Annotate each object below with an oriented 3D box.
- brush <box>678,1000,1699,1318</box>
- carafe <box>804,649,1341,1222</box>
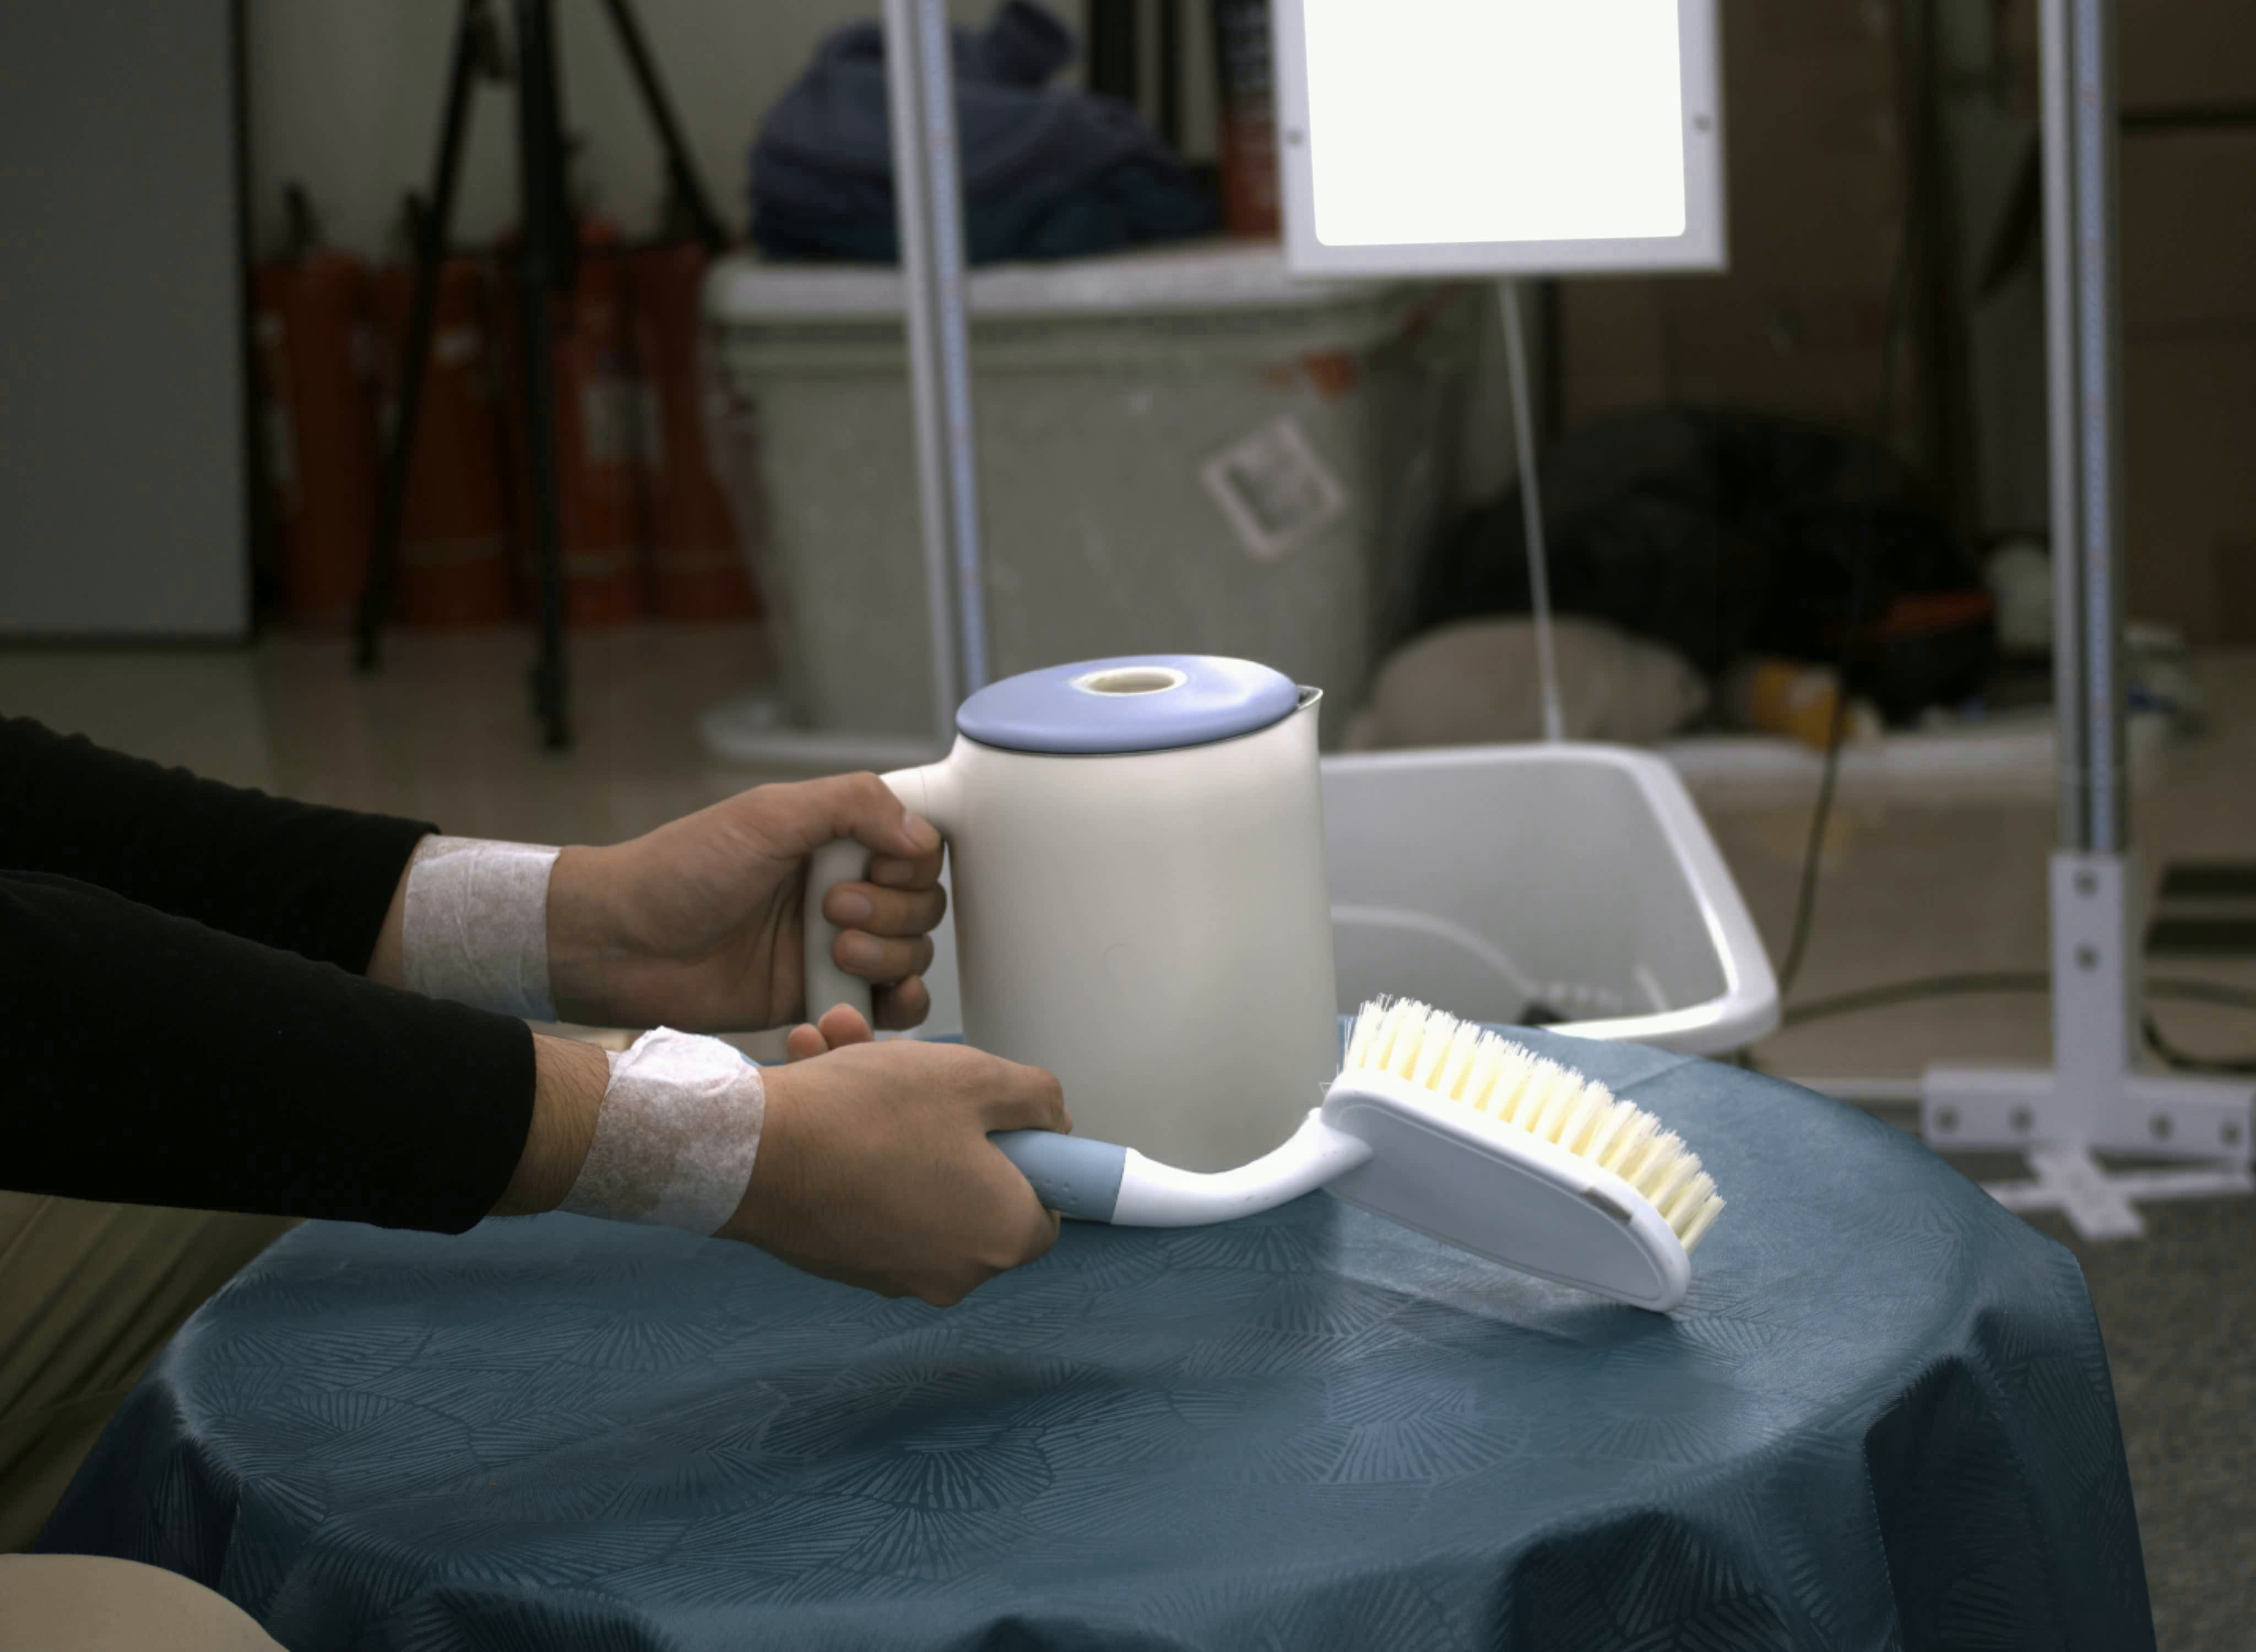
[{"bbox_3d":[0.022,0.084,1.735,0.324,0.084,0.084,12,16,0],"label":"brush"},{"bbox_3d":[-0.019,0.040,1.896,0.189,0.183,0.133,-8,14,-9],"label":"carafe"}]
